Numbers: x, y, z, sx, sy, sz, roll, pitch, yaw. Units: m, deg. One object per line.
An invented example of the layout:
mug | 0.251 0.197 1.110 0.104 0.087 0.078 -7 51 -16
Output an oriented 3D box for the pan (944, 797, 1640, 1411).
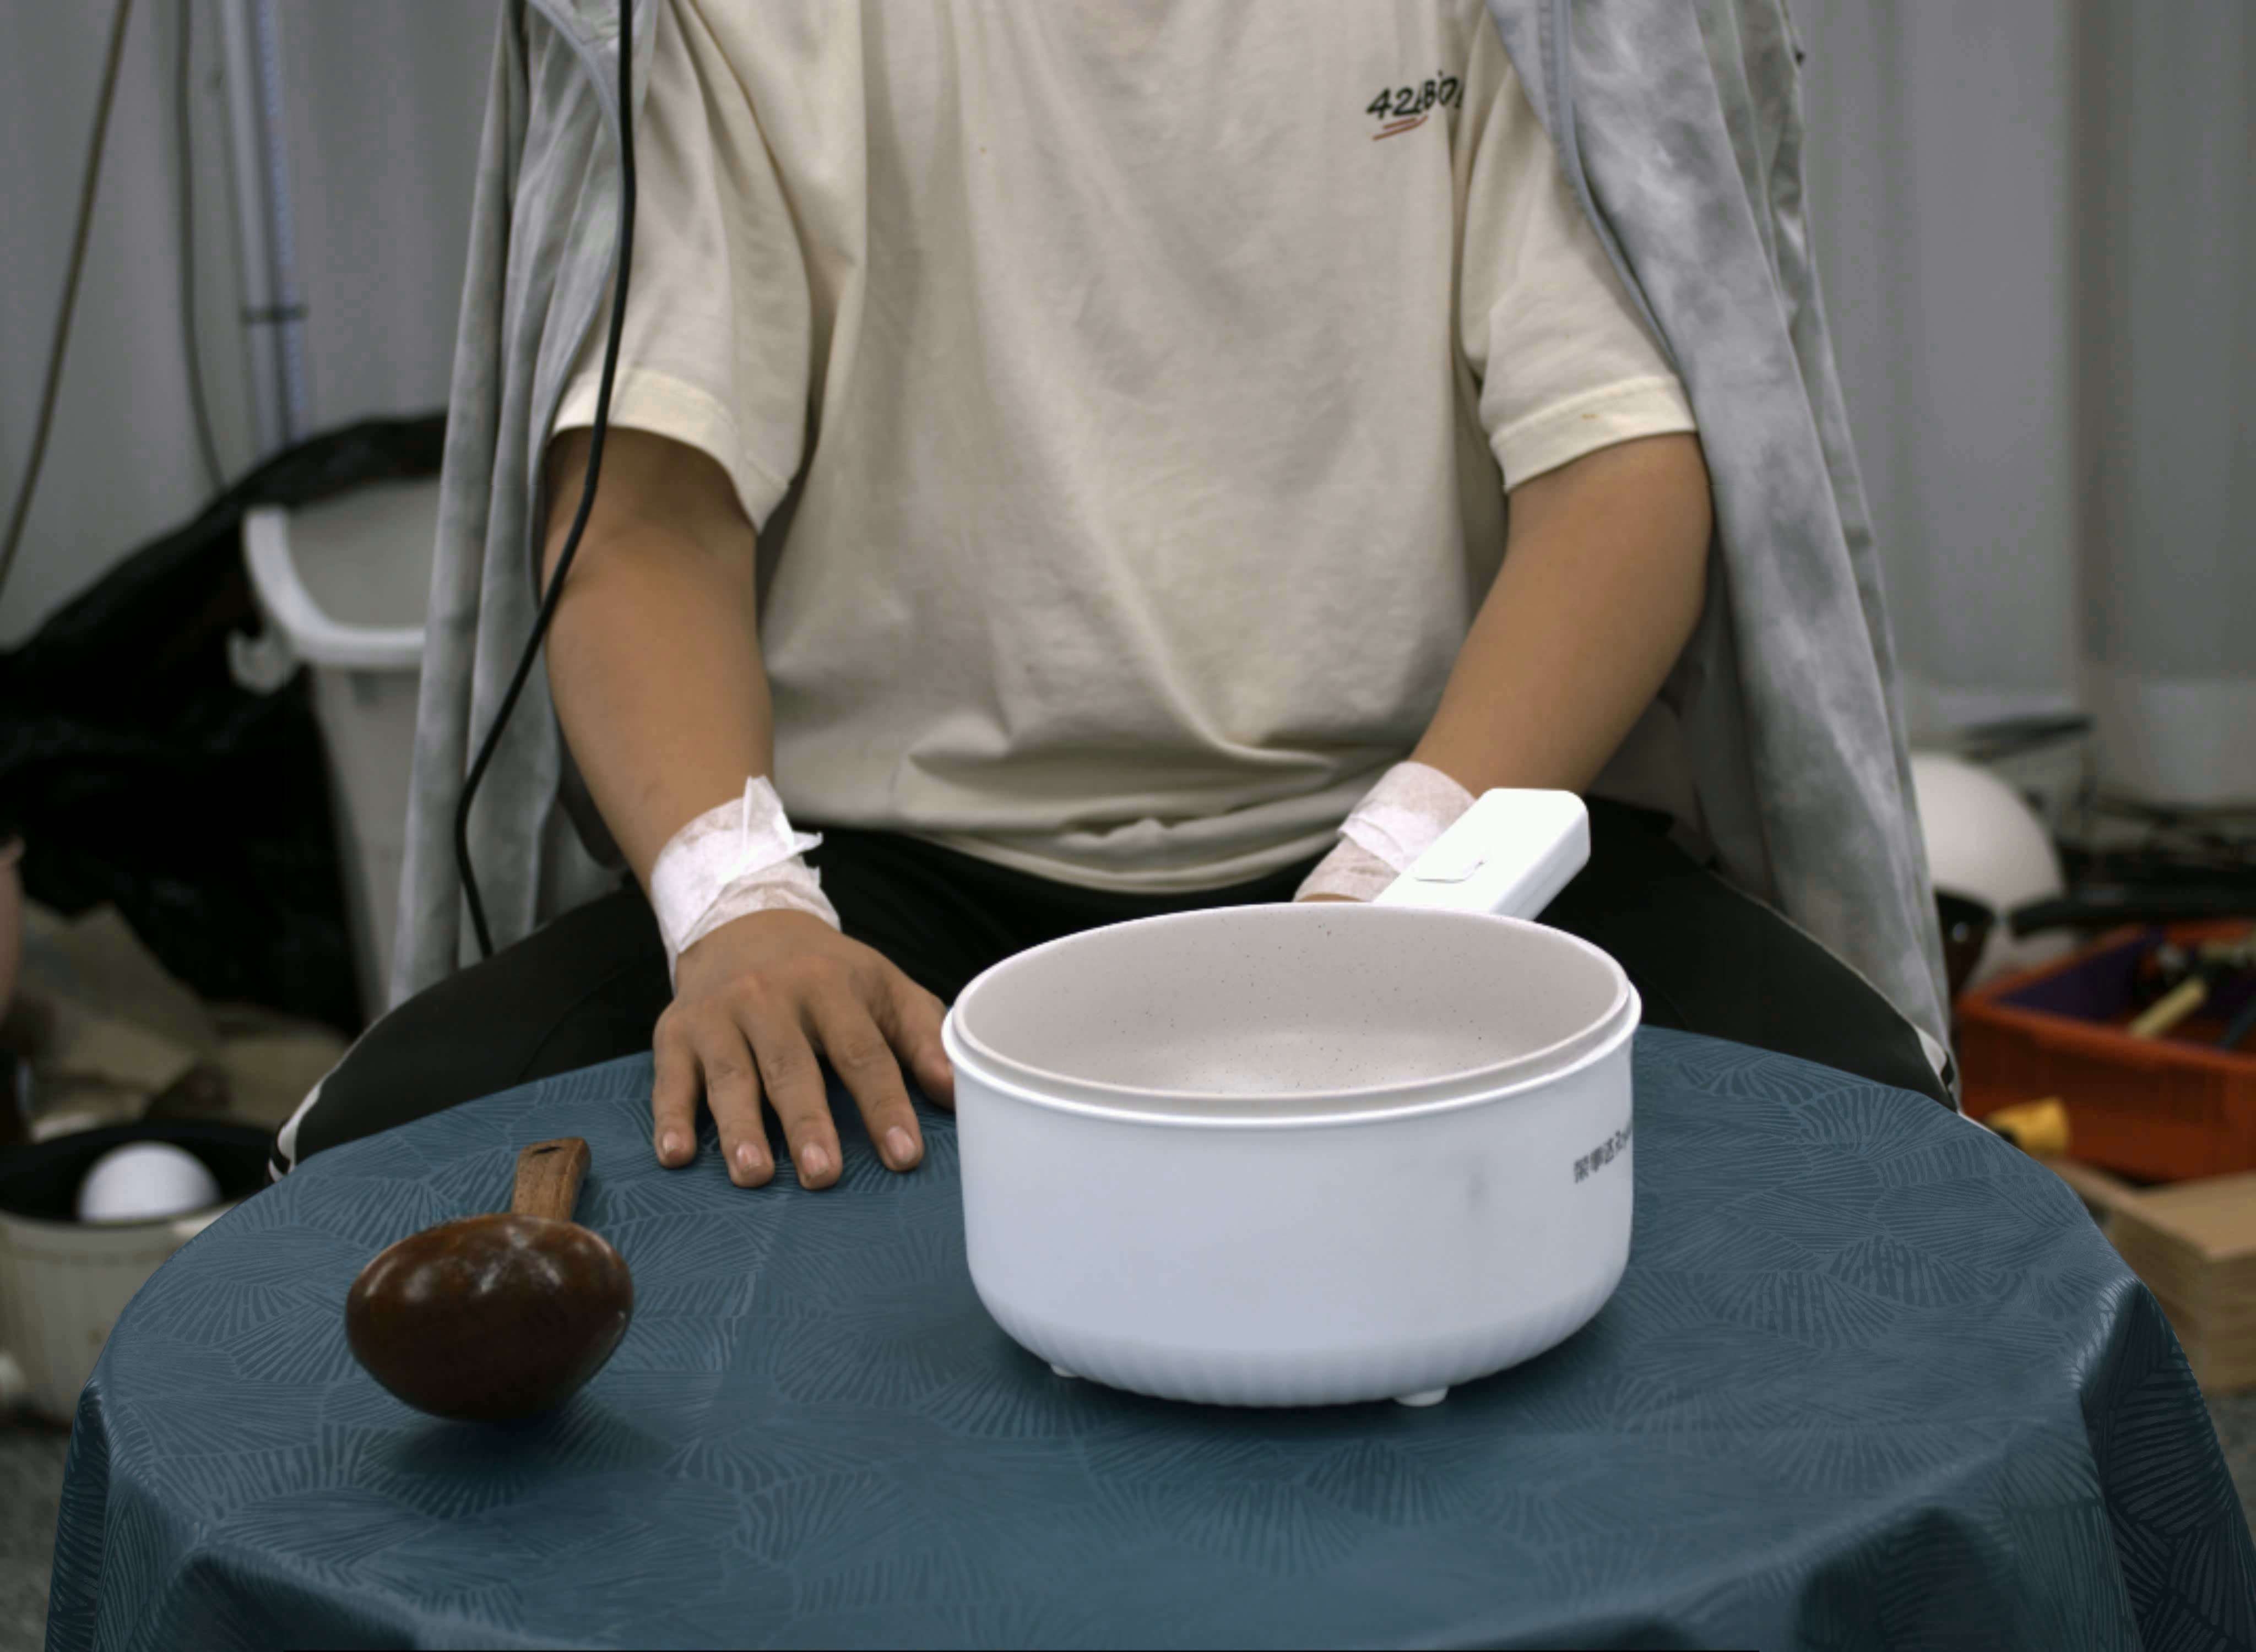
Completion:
pan | 0.076 0.079 1.652 0.201 0.102 0.356 1 14 21

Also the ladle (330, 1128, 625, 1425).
ladle | -0.181 0.110 1.622 0.081 0.076 0.276 -5 16 1
